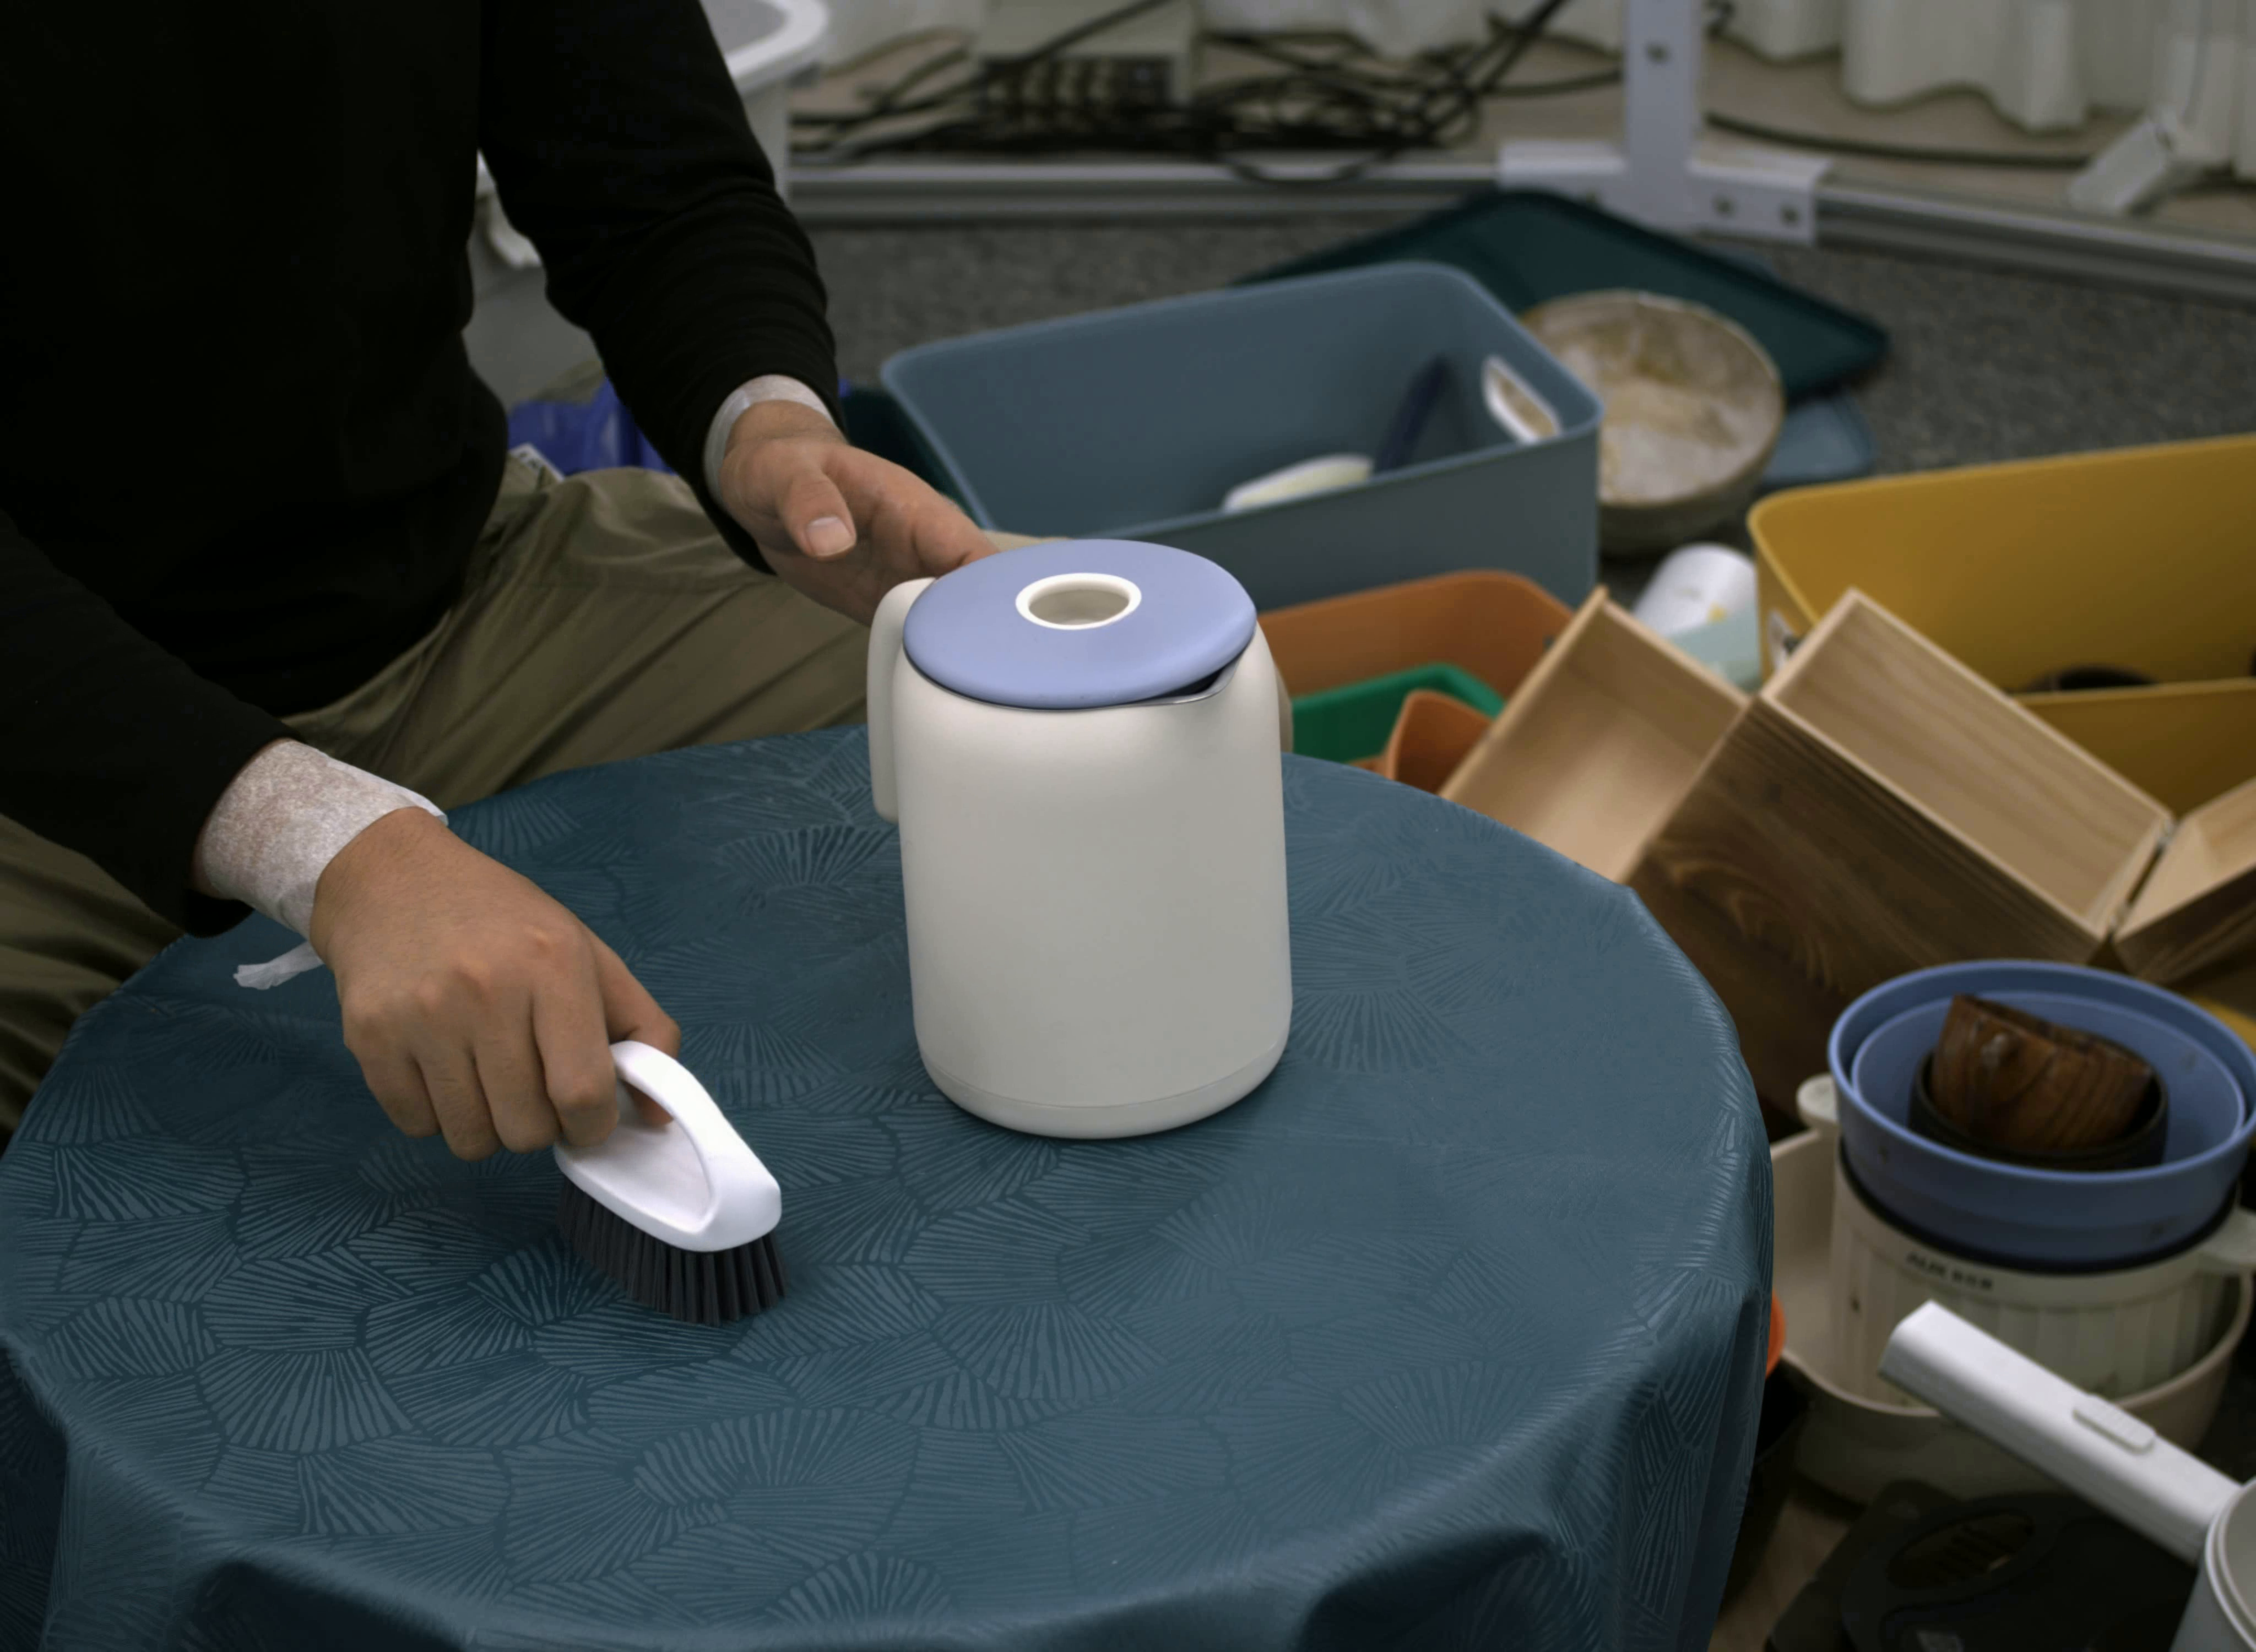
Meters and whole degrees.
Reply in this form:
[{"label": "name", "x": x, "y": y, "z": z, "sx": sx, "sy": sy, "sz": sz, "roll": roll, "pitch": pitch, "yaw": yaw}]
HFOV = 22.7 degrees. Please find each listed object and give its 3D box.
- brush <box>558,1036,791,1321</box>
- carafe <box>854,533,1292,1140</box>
[{"label": "brush", "x": -0.150, "y": 0.108, "z": 1.823, "sx": 0.050, "sy": 0.072, "sz": 0.099, "roll": -20, "pitch": 31, "yaw": -29}, {"label": "carafe", "x": -0.029, "y": -0.005, "z": 1.924, "sx": 0.133, "sy": 0.181, "sz": 0.191, "roll": -23, "pitch": 32, "yaw": -35}]
